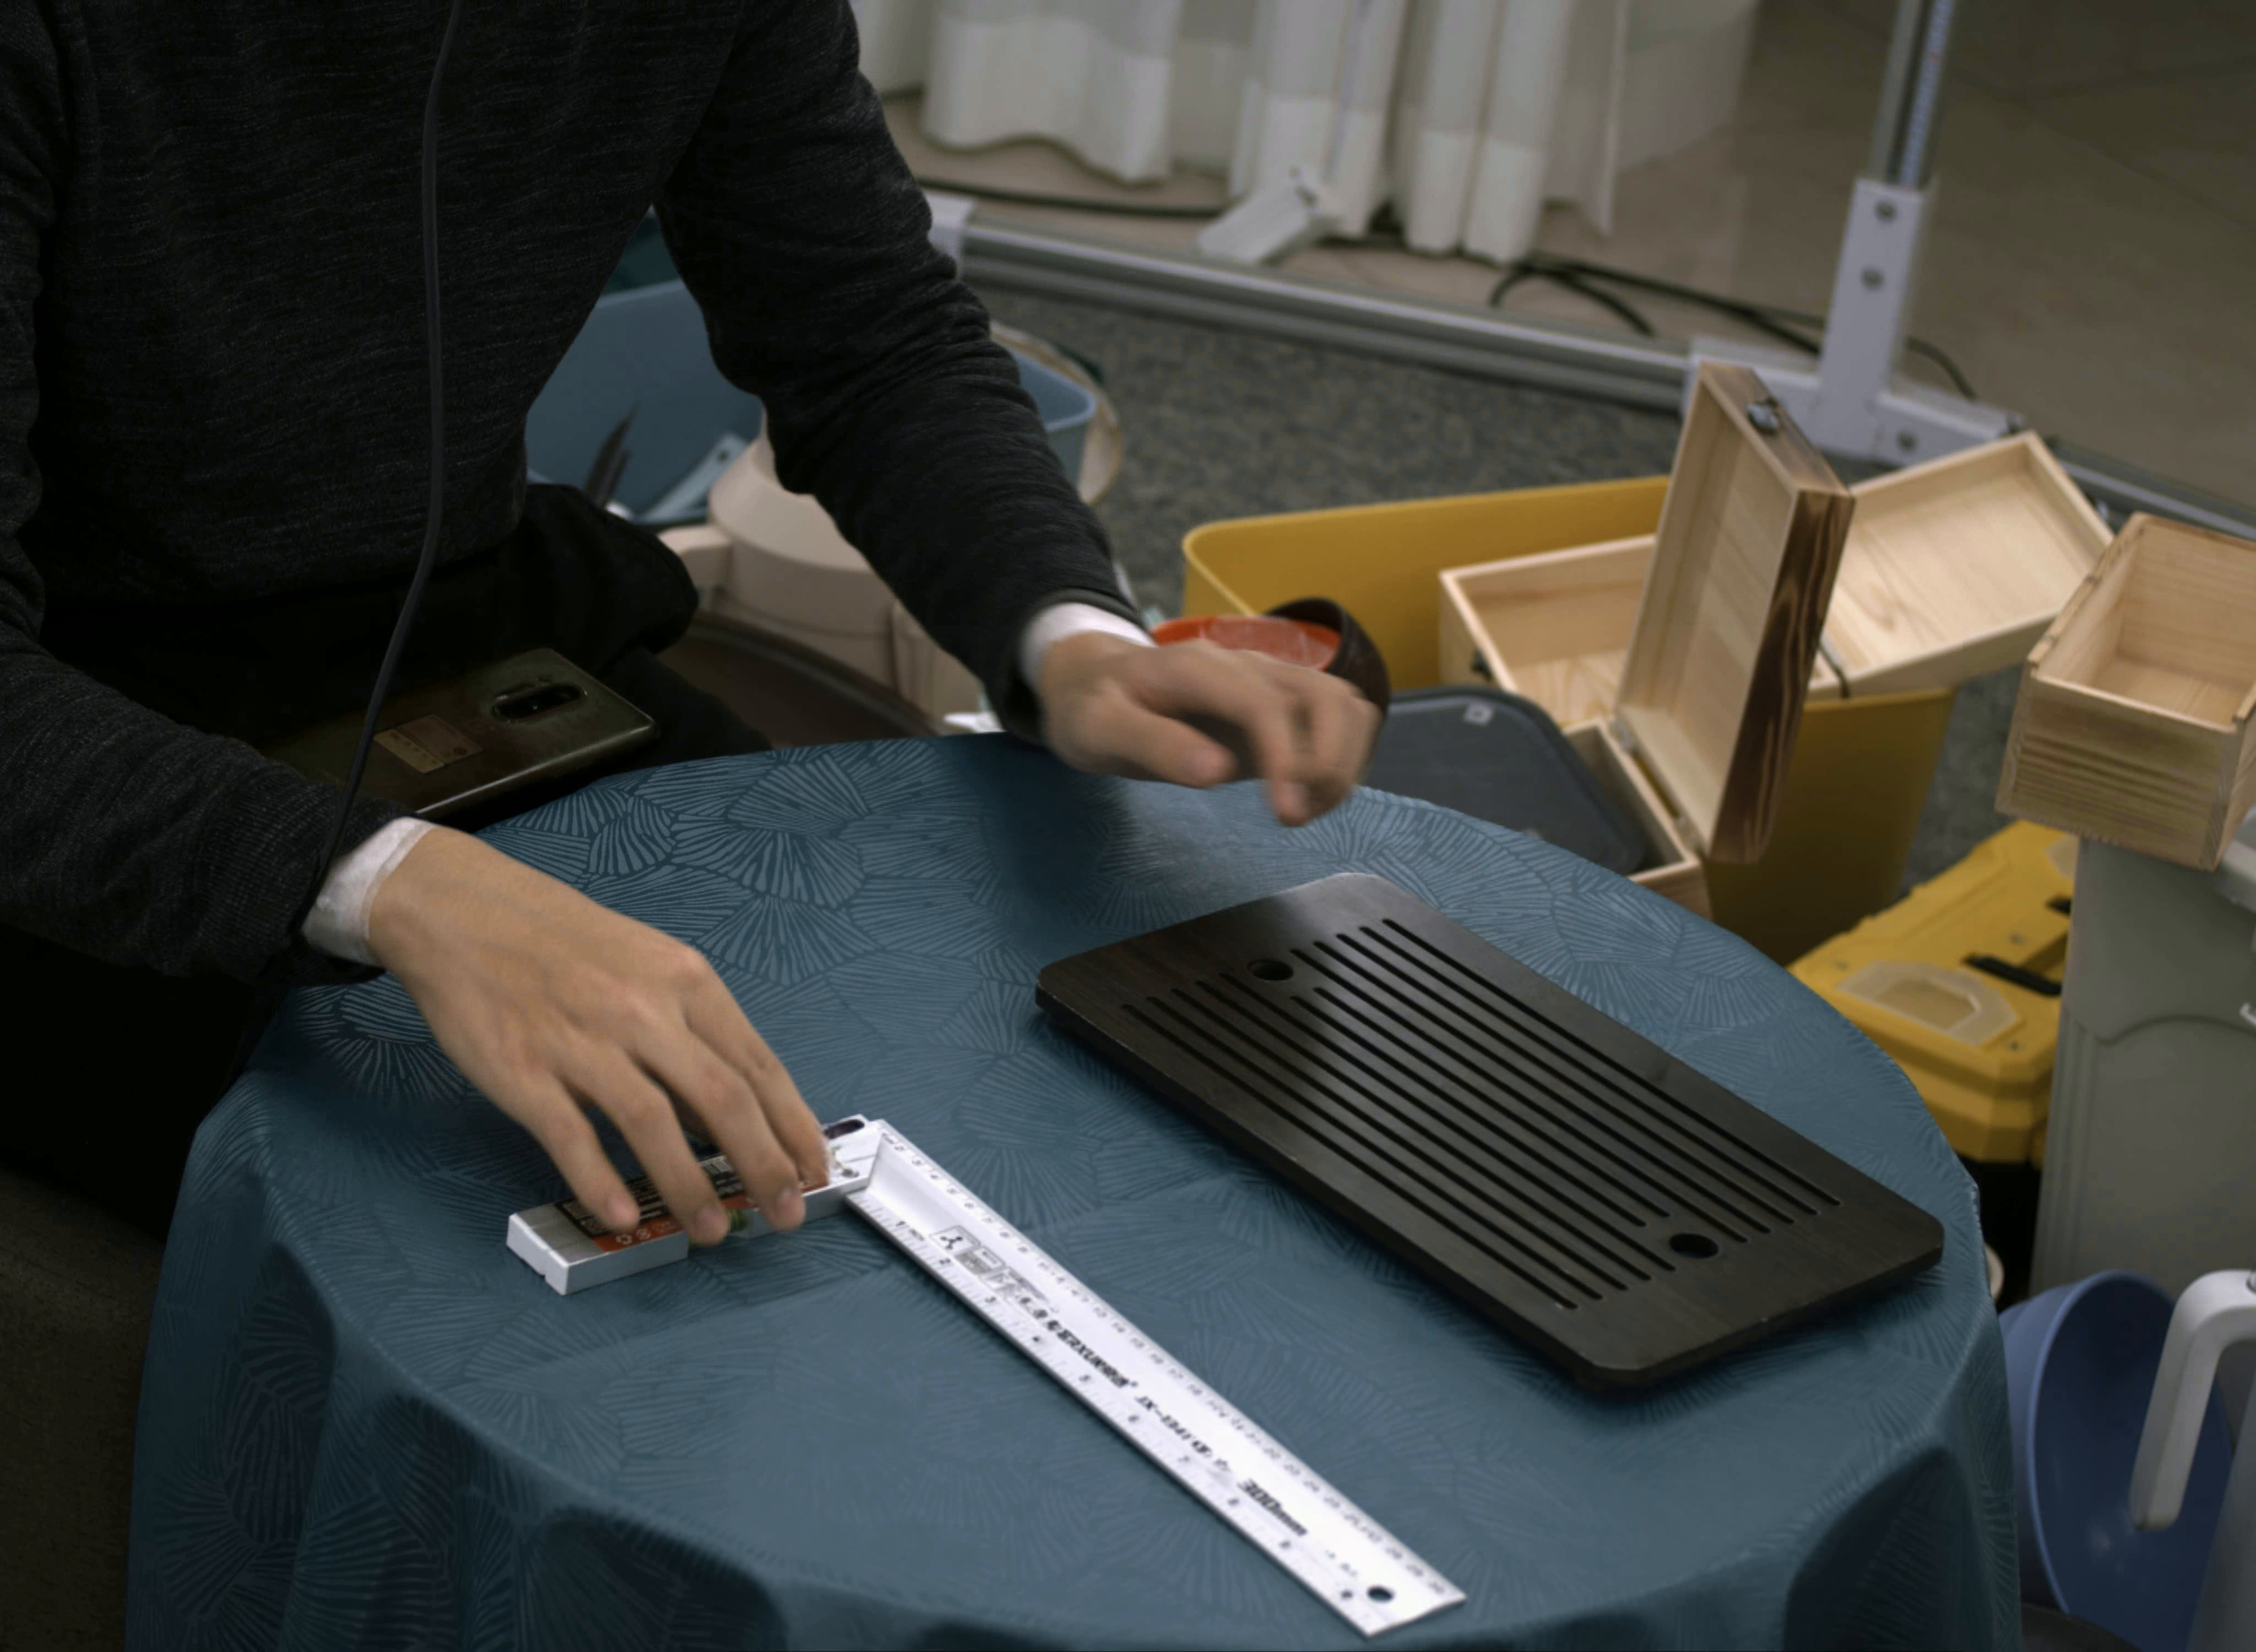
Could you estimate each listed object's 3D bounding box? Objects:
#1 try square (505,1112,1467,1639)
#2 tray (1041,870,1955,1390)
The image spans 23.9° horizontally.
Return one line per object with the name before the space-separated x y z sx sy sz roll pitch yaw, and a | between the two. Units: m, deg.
try square | -0.051 0.181 1.668 0.151 0.016 0.315 -14 34 -35
tray | 0.124 0.102 1.852 0.169 0.018 0.308 -16 35 -37
